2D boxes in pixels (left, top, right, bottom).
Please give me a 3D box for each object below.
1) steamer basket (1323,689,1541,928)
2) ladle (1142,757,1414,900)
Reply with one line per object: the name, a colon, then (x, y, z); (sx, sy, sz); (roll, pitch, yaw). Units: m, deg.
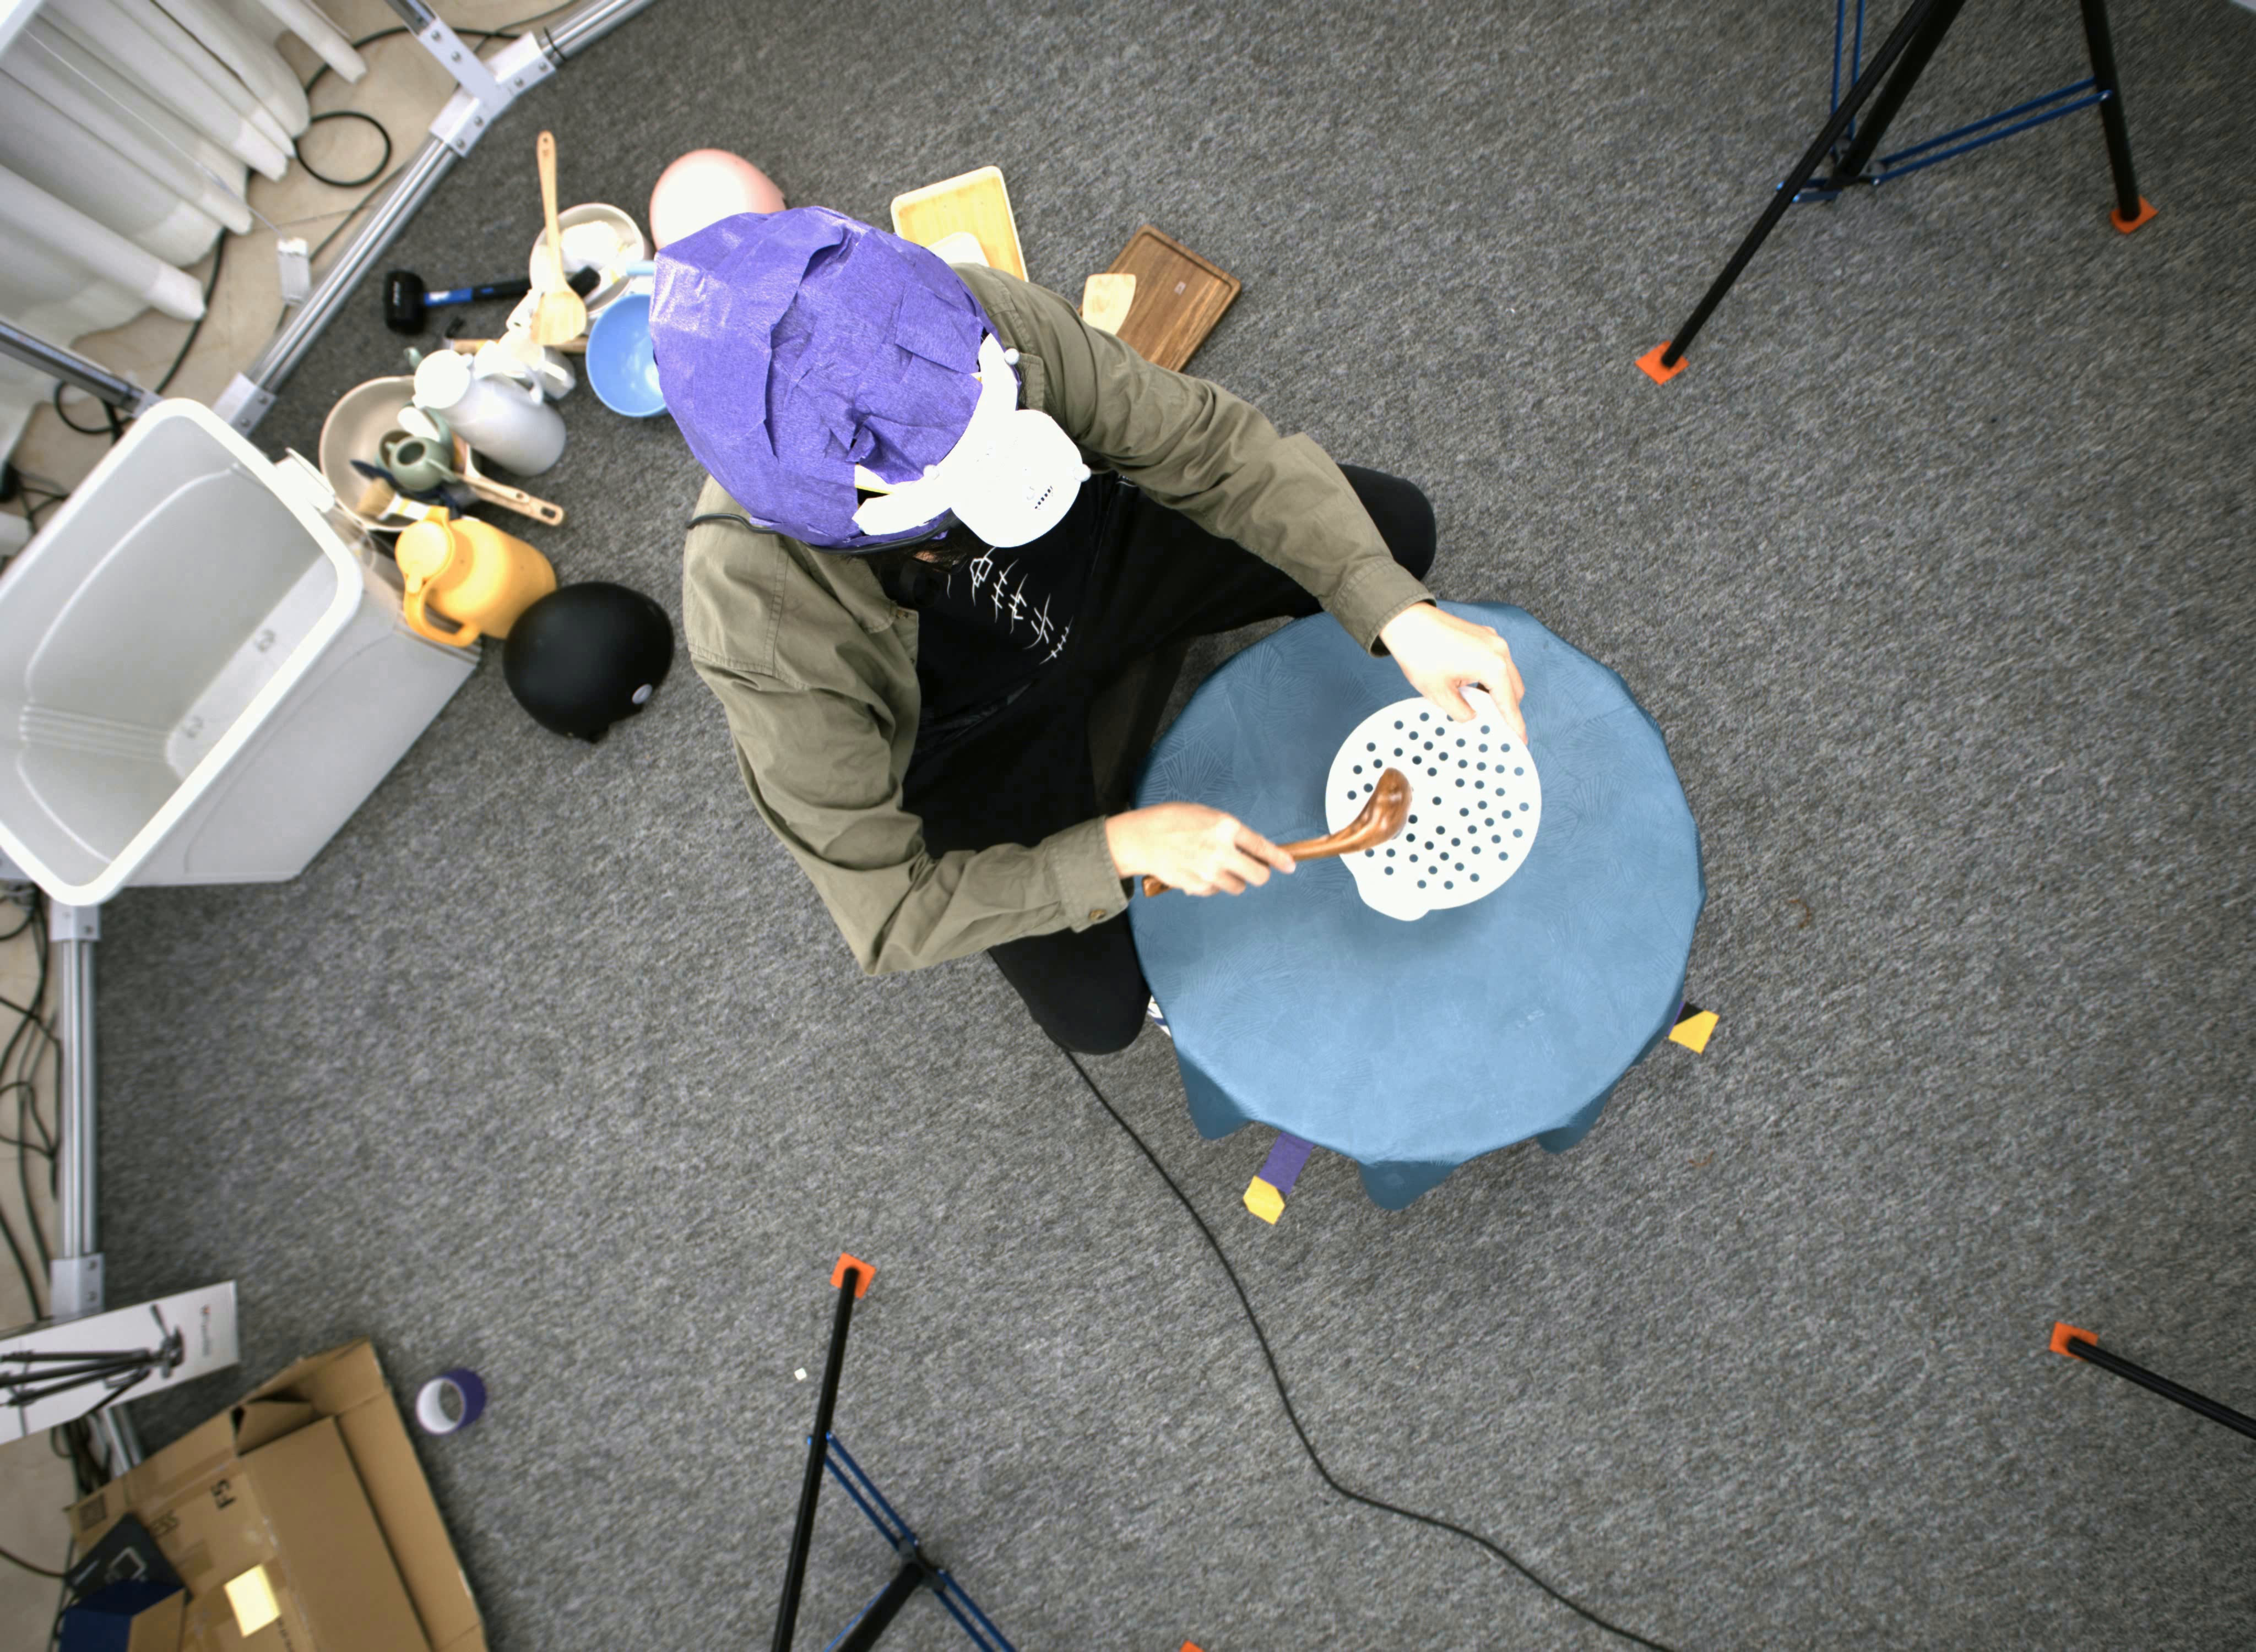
steamer basket: (0.291, -0.019, 1.315); (0.201, 0.068, 0.233); (24, 102, 14)
ladle: (0.140, 0.000, 1.295); (0.274, 0.084, 0.075); (-14, 51, 0)
